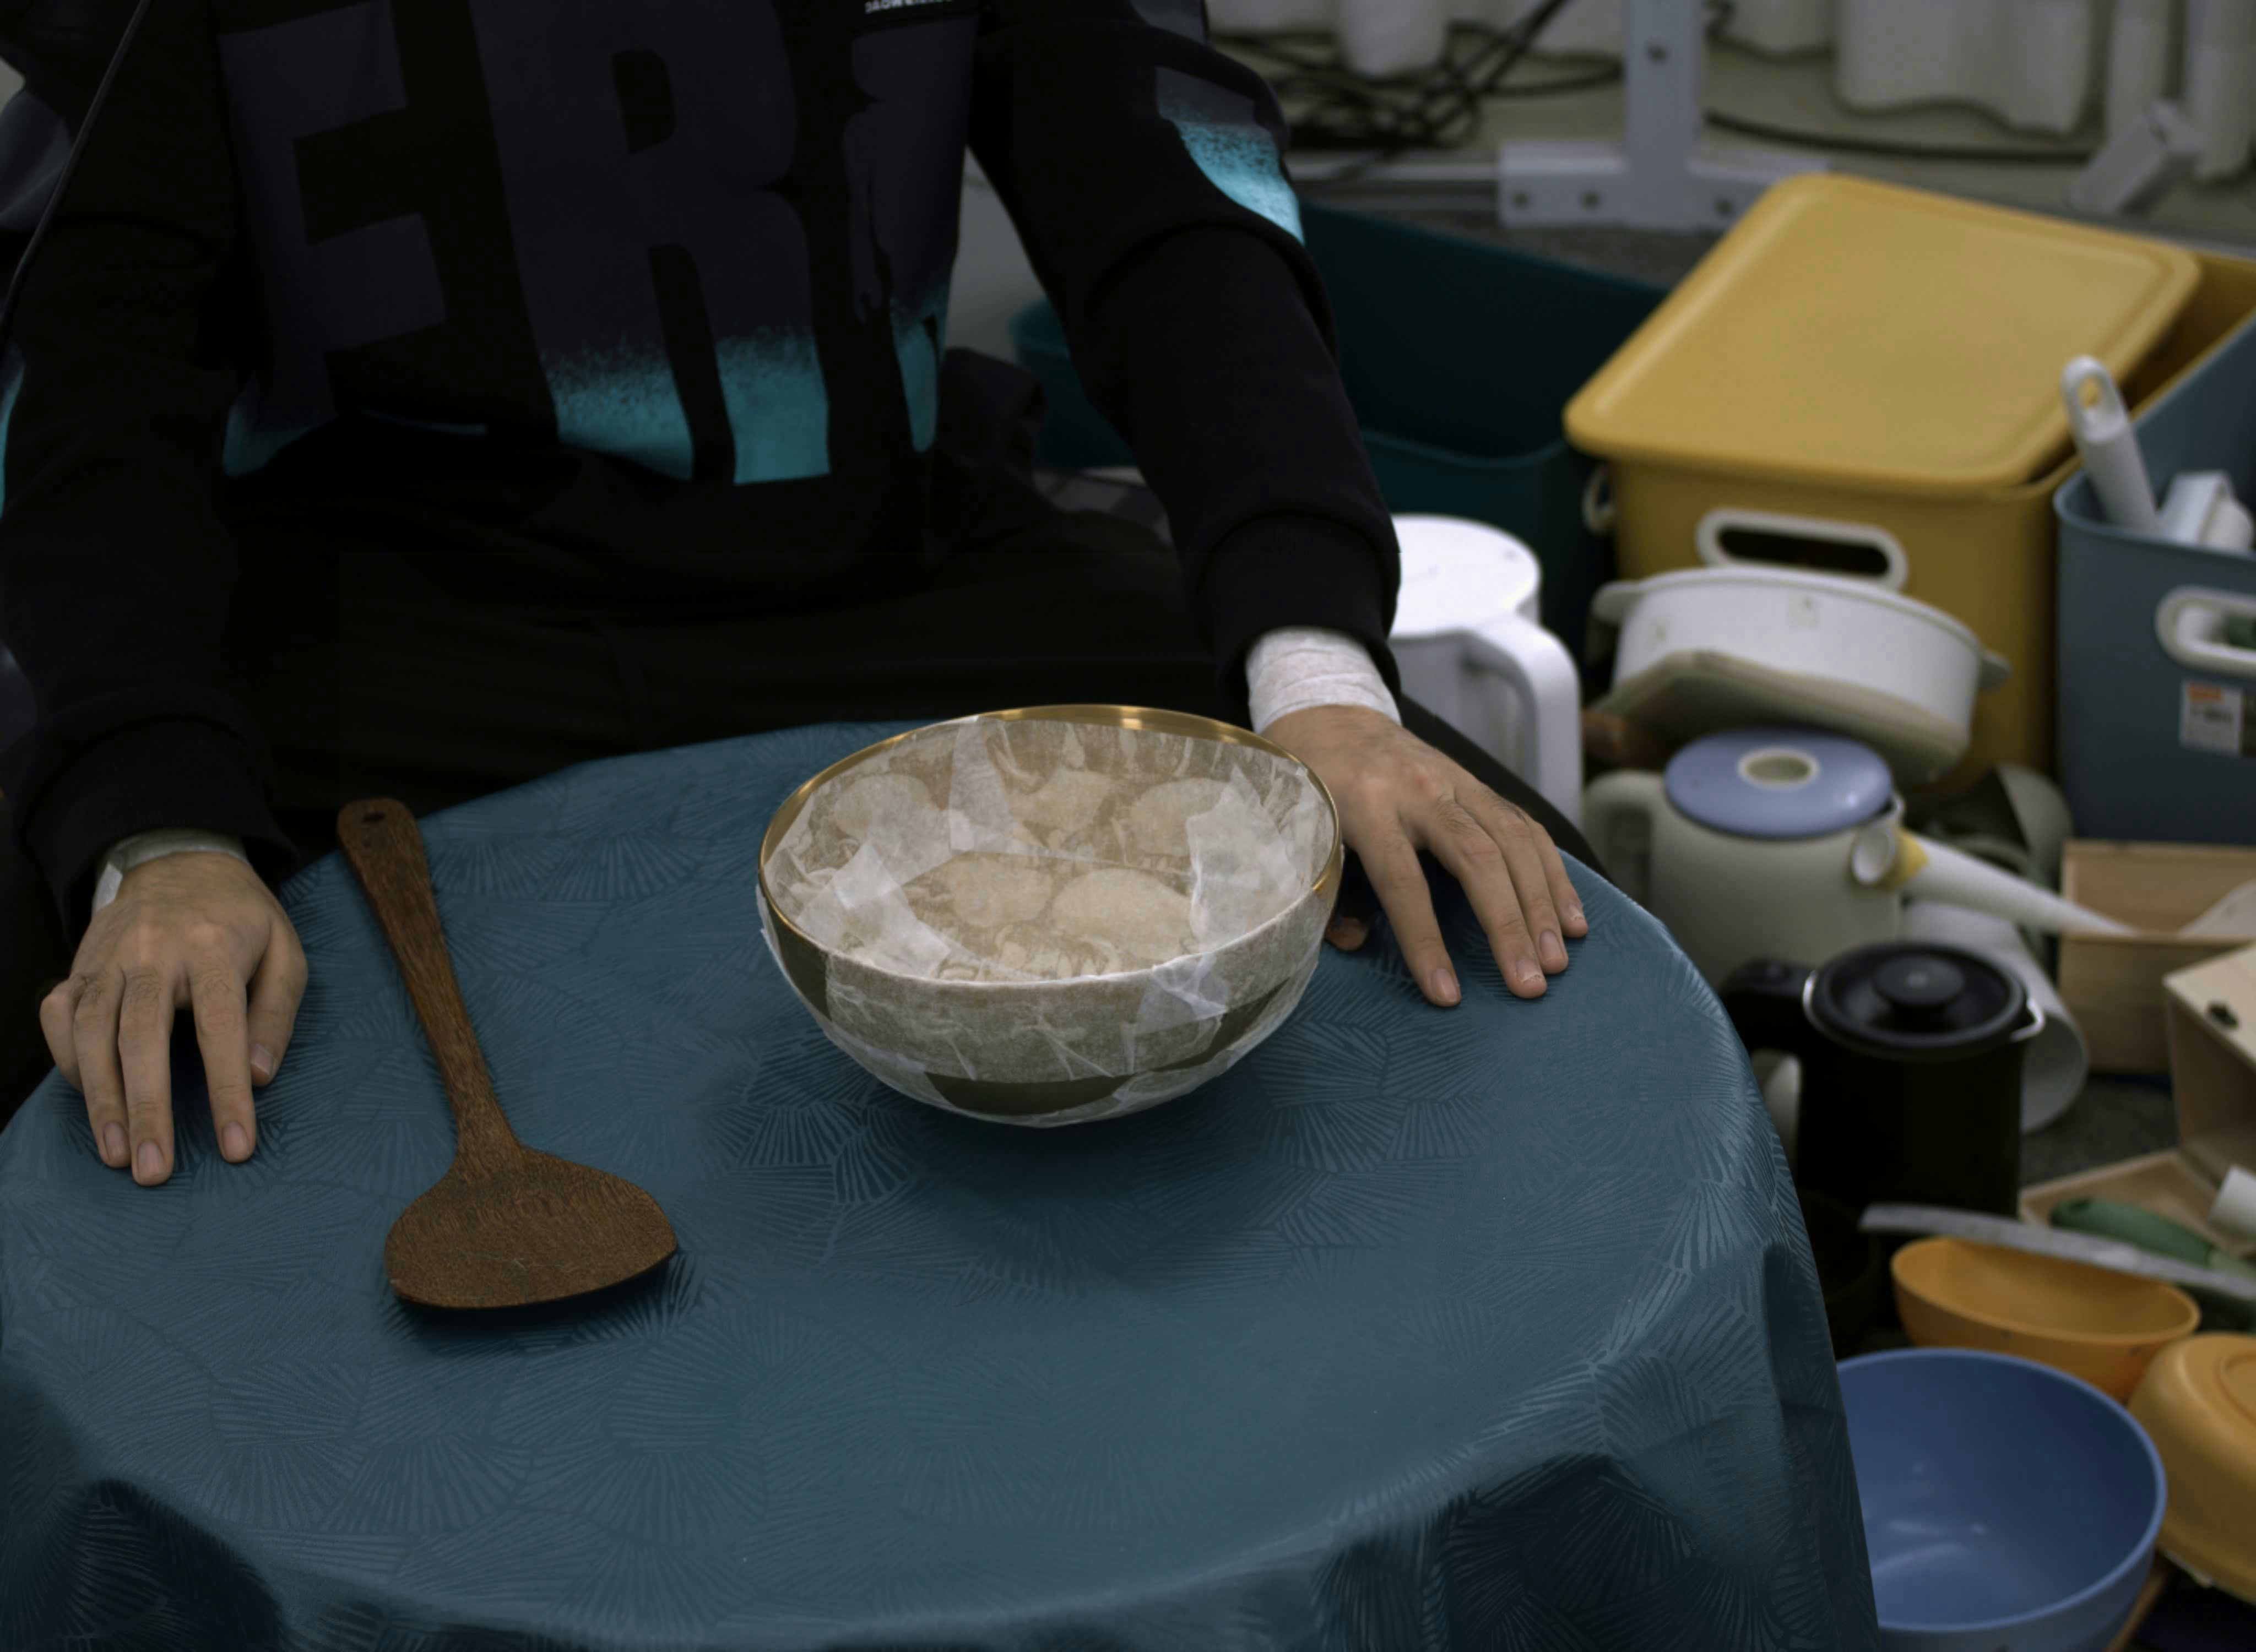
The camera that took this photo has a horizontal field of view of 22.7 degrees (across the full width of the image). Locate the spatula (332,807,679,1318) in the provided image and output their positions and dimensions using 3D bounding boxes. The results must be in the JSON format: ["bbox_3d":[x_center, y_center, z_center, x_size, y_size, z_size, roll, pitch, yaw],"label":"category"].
[{"bbox_3d":[-0.237,0.074,1.963,0.096,0.015,0.390,-9,27,-13],"label":"spatula"}]

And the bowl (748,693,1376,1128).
[{"bbox_3d":[-0.021,0.041,1.918,0.213,0.093,0.218,-4,26,2],"label":"bowl"}]
